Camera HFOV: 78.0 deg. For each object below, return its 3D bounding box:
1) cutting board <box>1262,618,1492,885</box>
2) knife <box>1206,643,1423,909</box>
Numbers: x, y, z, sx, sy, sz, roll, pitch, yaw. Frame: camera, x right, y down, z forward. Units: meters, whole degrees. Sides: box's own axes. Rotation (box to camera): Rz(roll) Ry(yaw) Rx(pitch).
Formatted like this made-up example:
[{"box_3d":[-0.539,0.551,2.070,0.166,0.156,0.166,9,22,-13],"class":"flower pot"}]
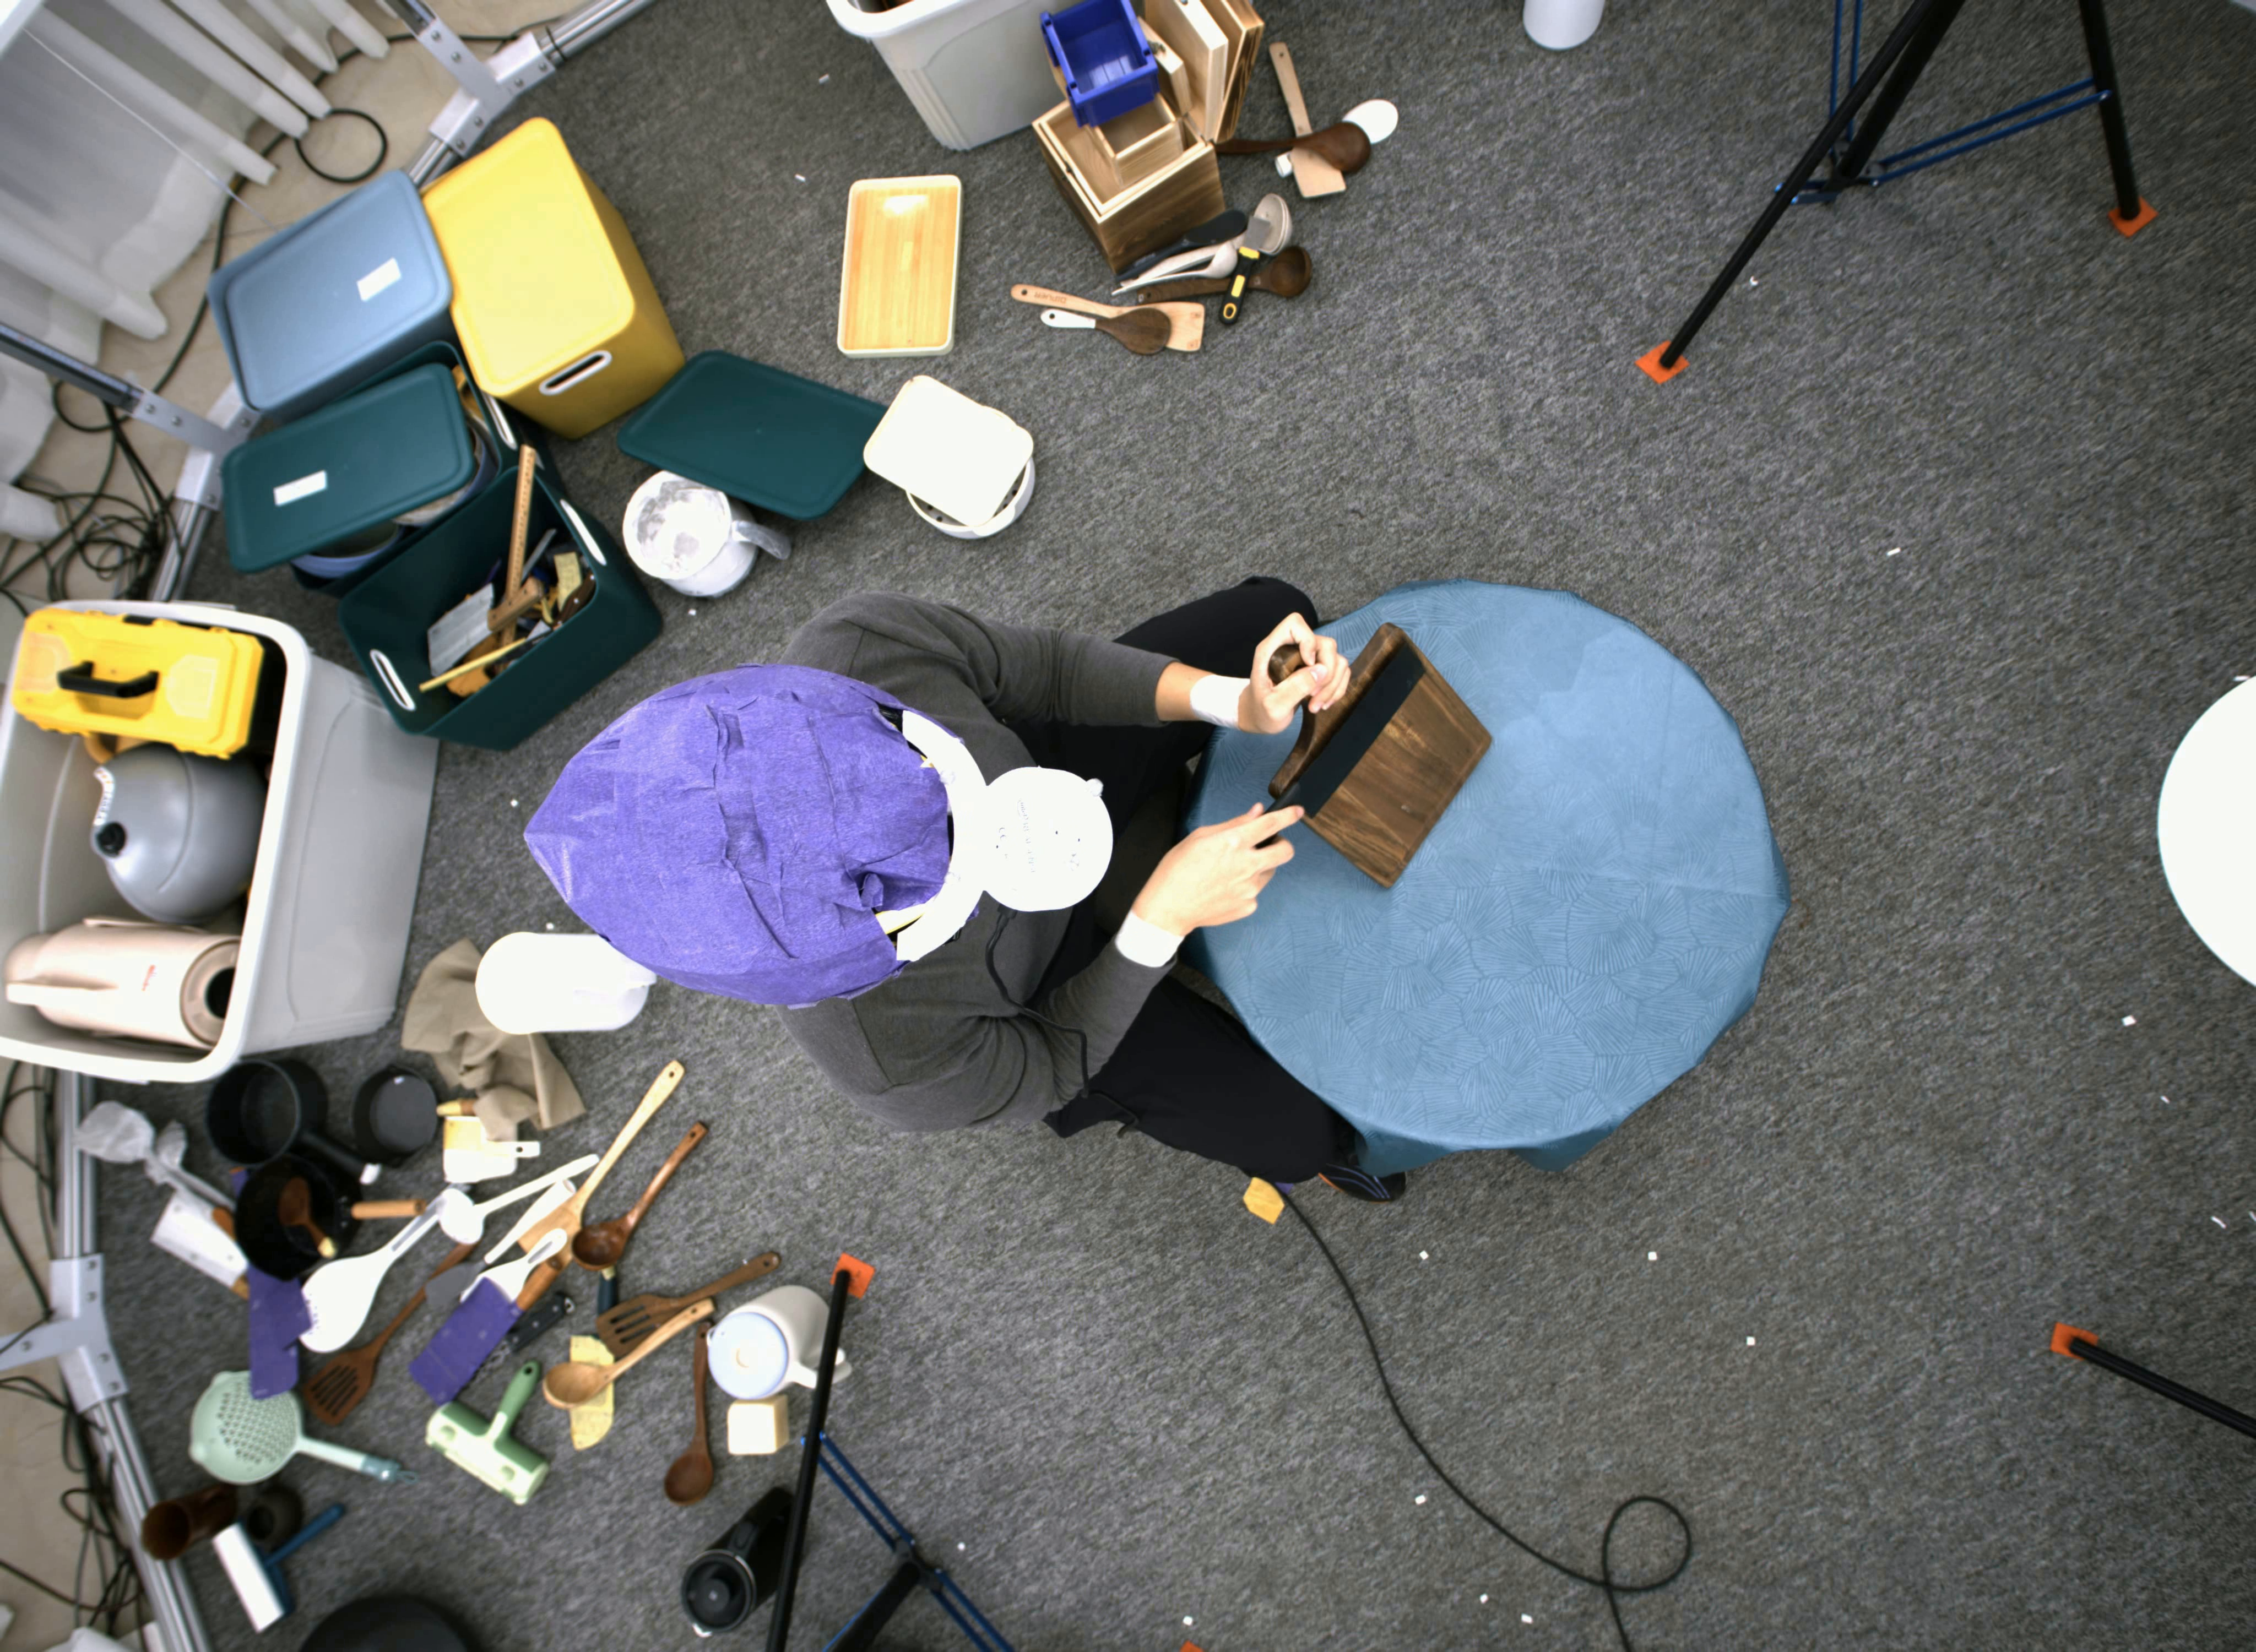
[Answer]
[{"box_3d":[0.228,-0.085,1.318,0.023,0.355,0.201,37,92,43],"class":"cutting board"},{"box_3d":[0.175,-0.044,1.277,0.301,0.082,0.020,-49,55,-4],"class":"knife"}]
